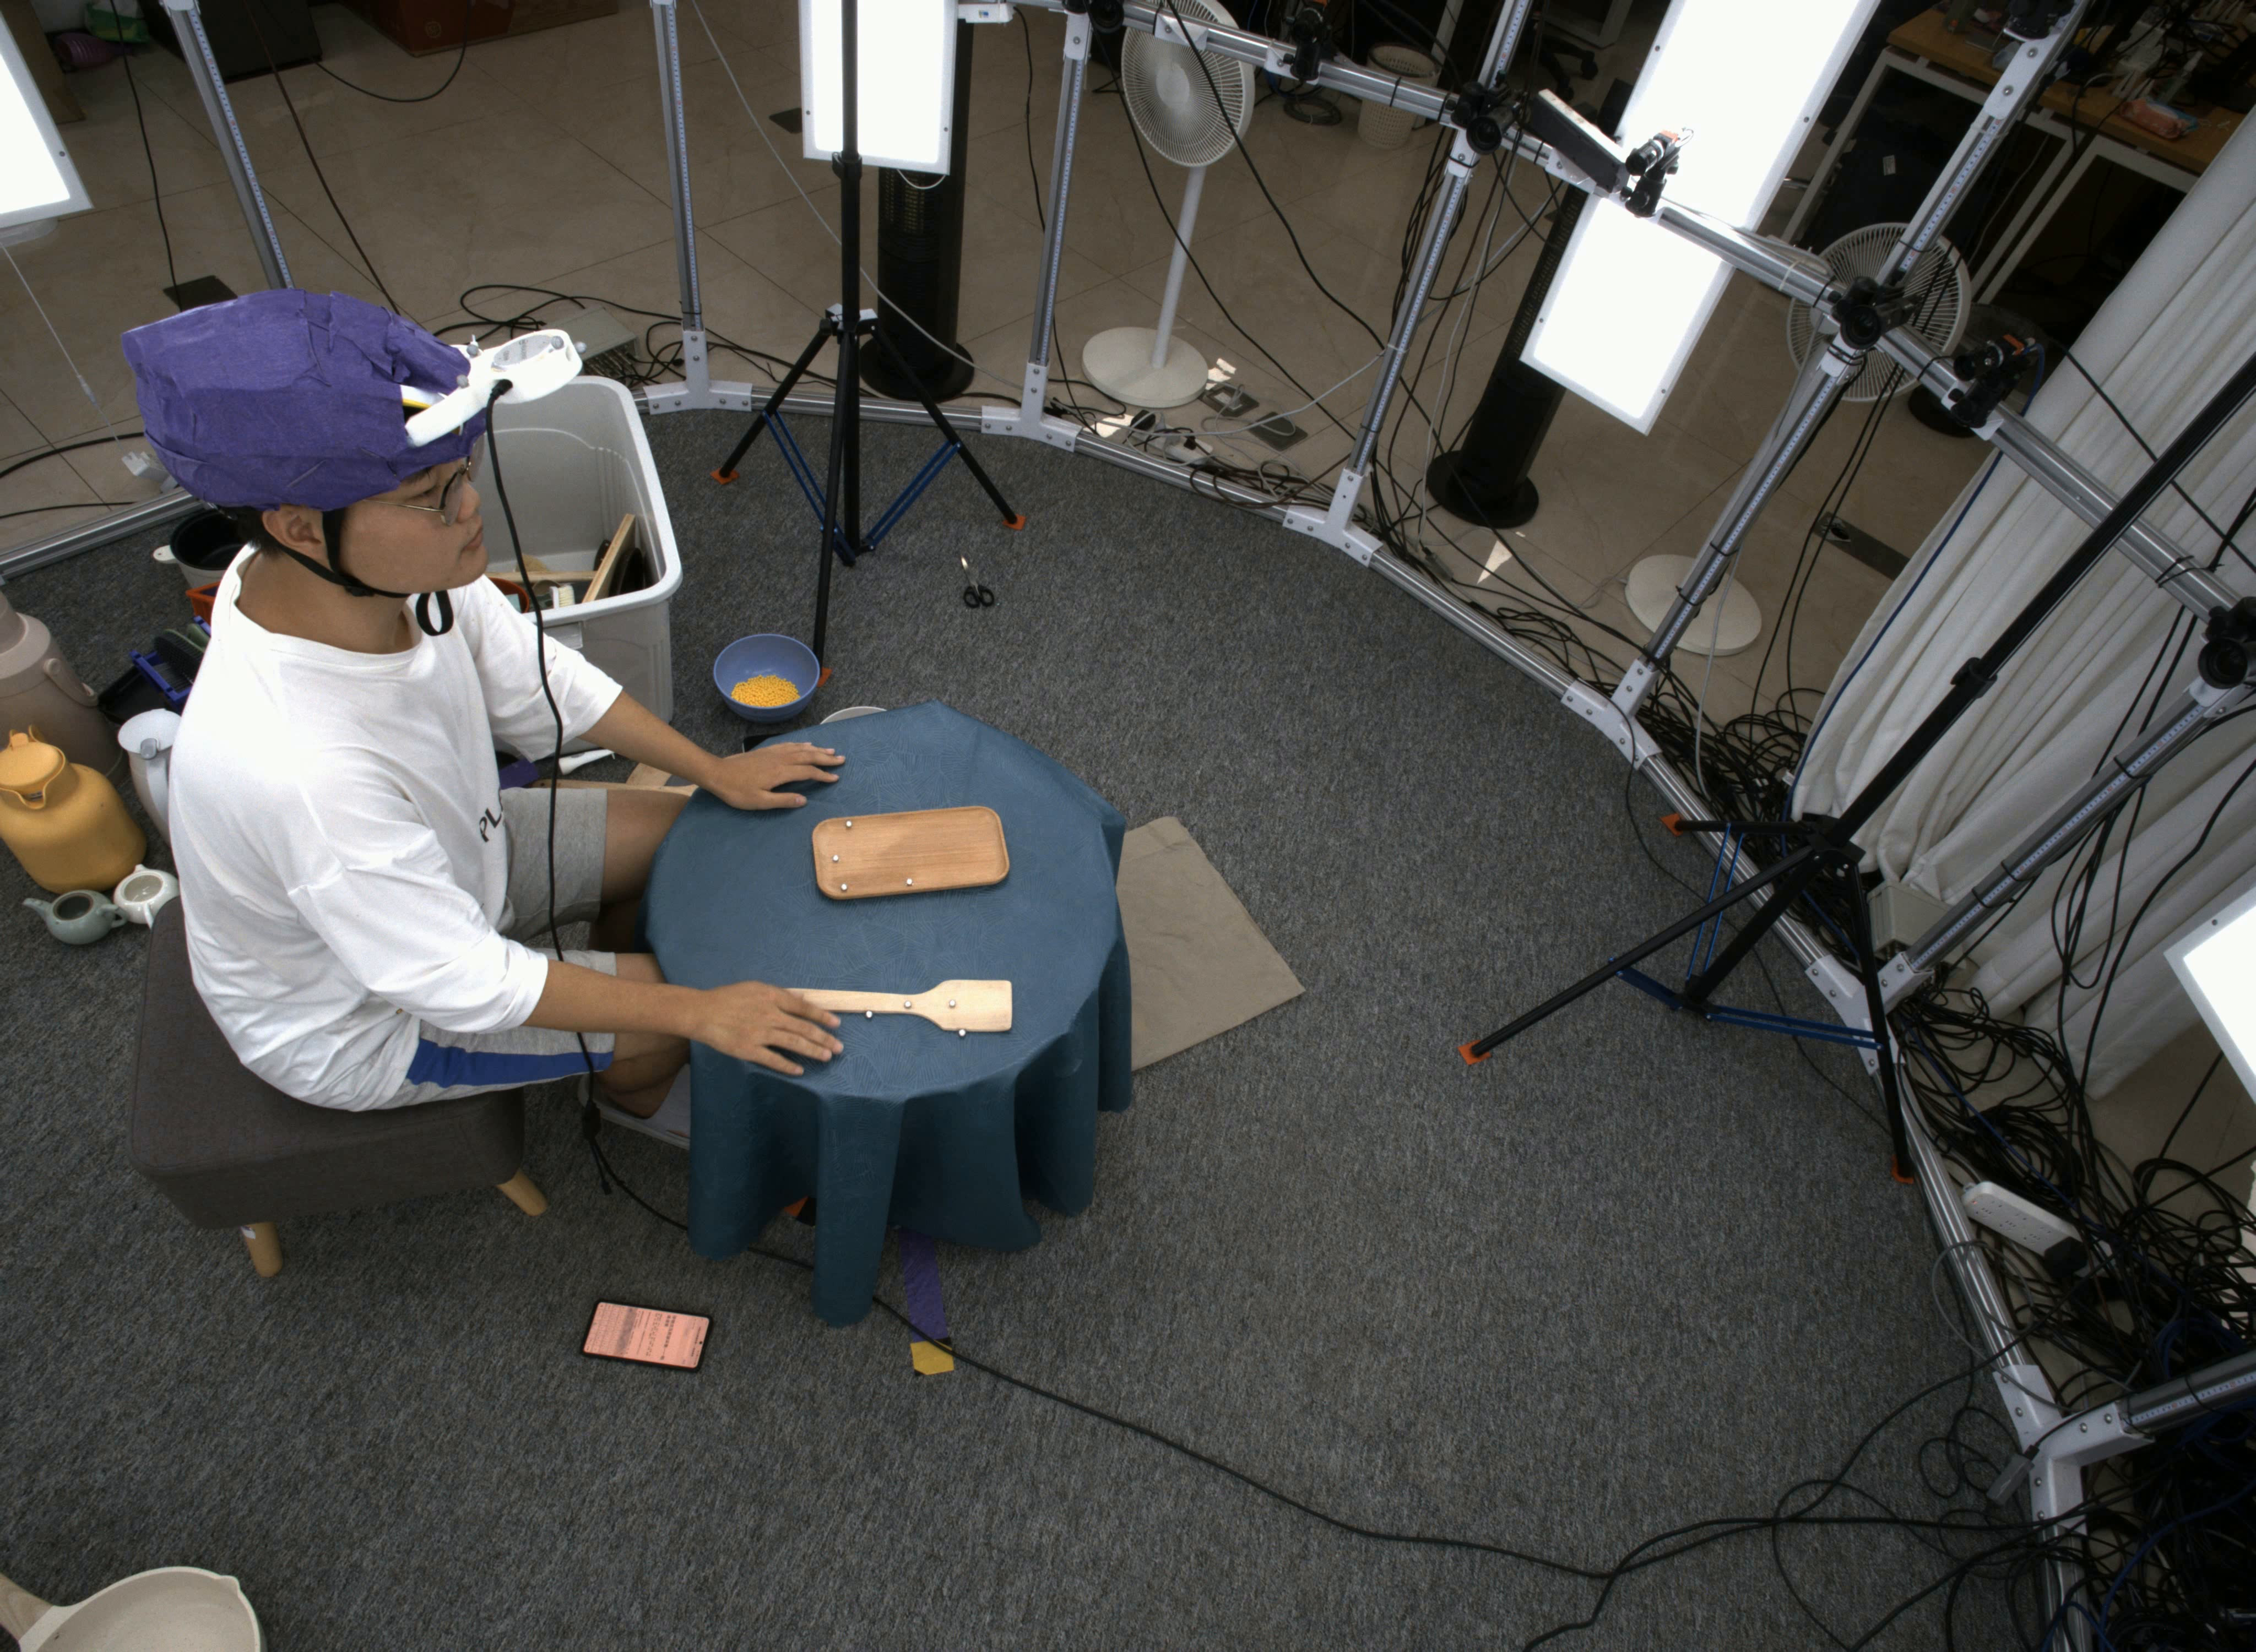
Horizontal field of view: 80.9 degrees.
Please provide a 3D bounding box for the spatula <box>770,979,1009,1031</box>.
[{"bbox_3d":[-0.292,0.216,1.600,0.293,0.011,0.071,2,55,-12],"label":"spatula"}]

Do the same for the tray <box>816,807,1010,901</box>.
[{"bbox_3d":[-0.286,0.036,1.731,0.251,0.023,0.128,-4,57,-16],"label":"tray"}]
